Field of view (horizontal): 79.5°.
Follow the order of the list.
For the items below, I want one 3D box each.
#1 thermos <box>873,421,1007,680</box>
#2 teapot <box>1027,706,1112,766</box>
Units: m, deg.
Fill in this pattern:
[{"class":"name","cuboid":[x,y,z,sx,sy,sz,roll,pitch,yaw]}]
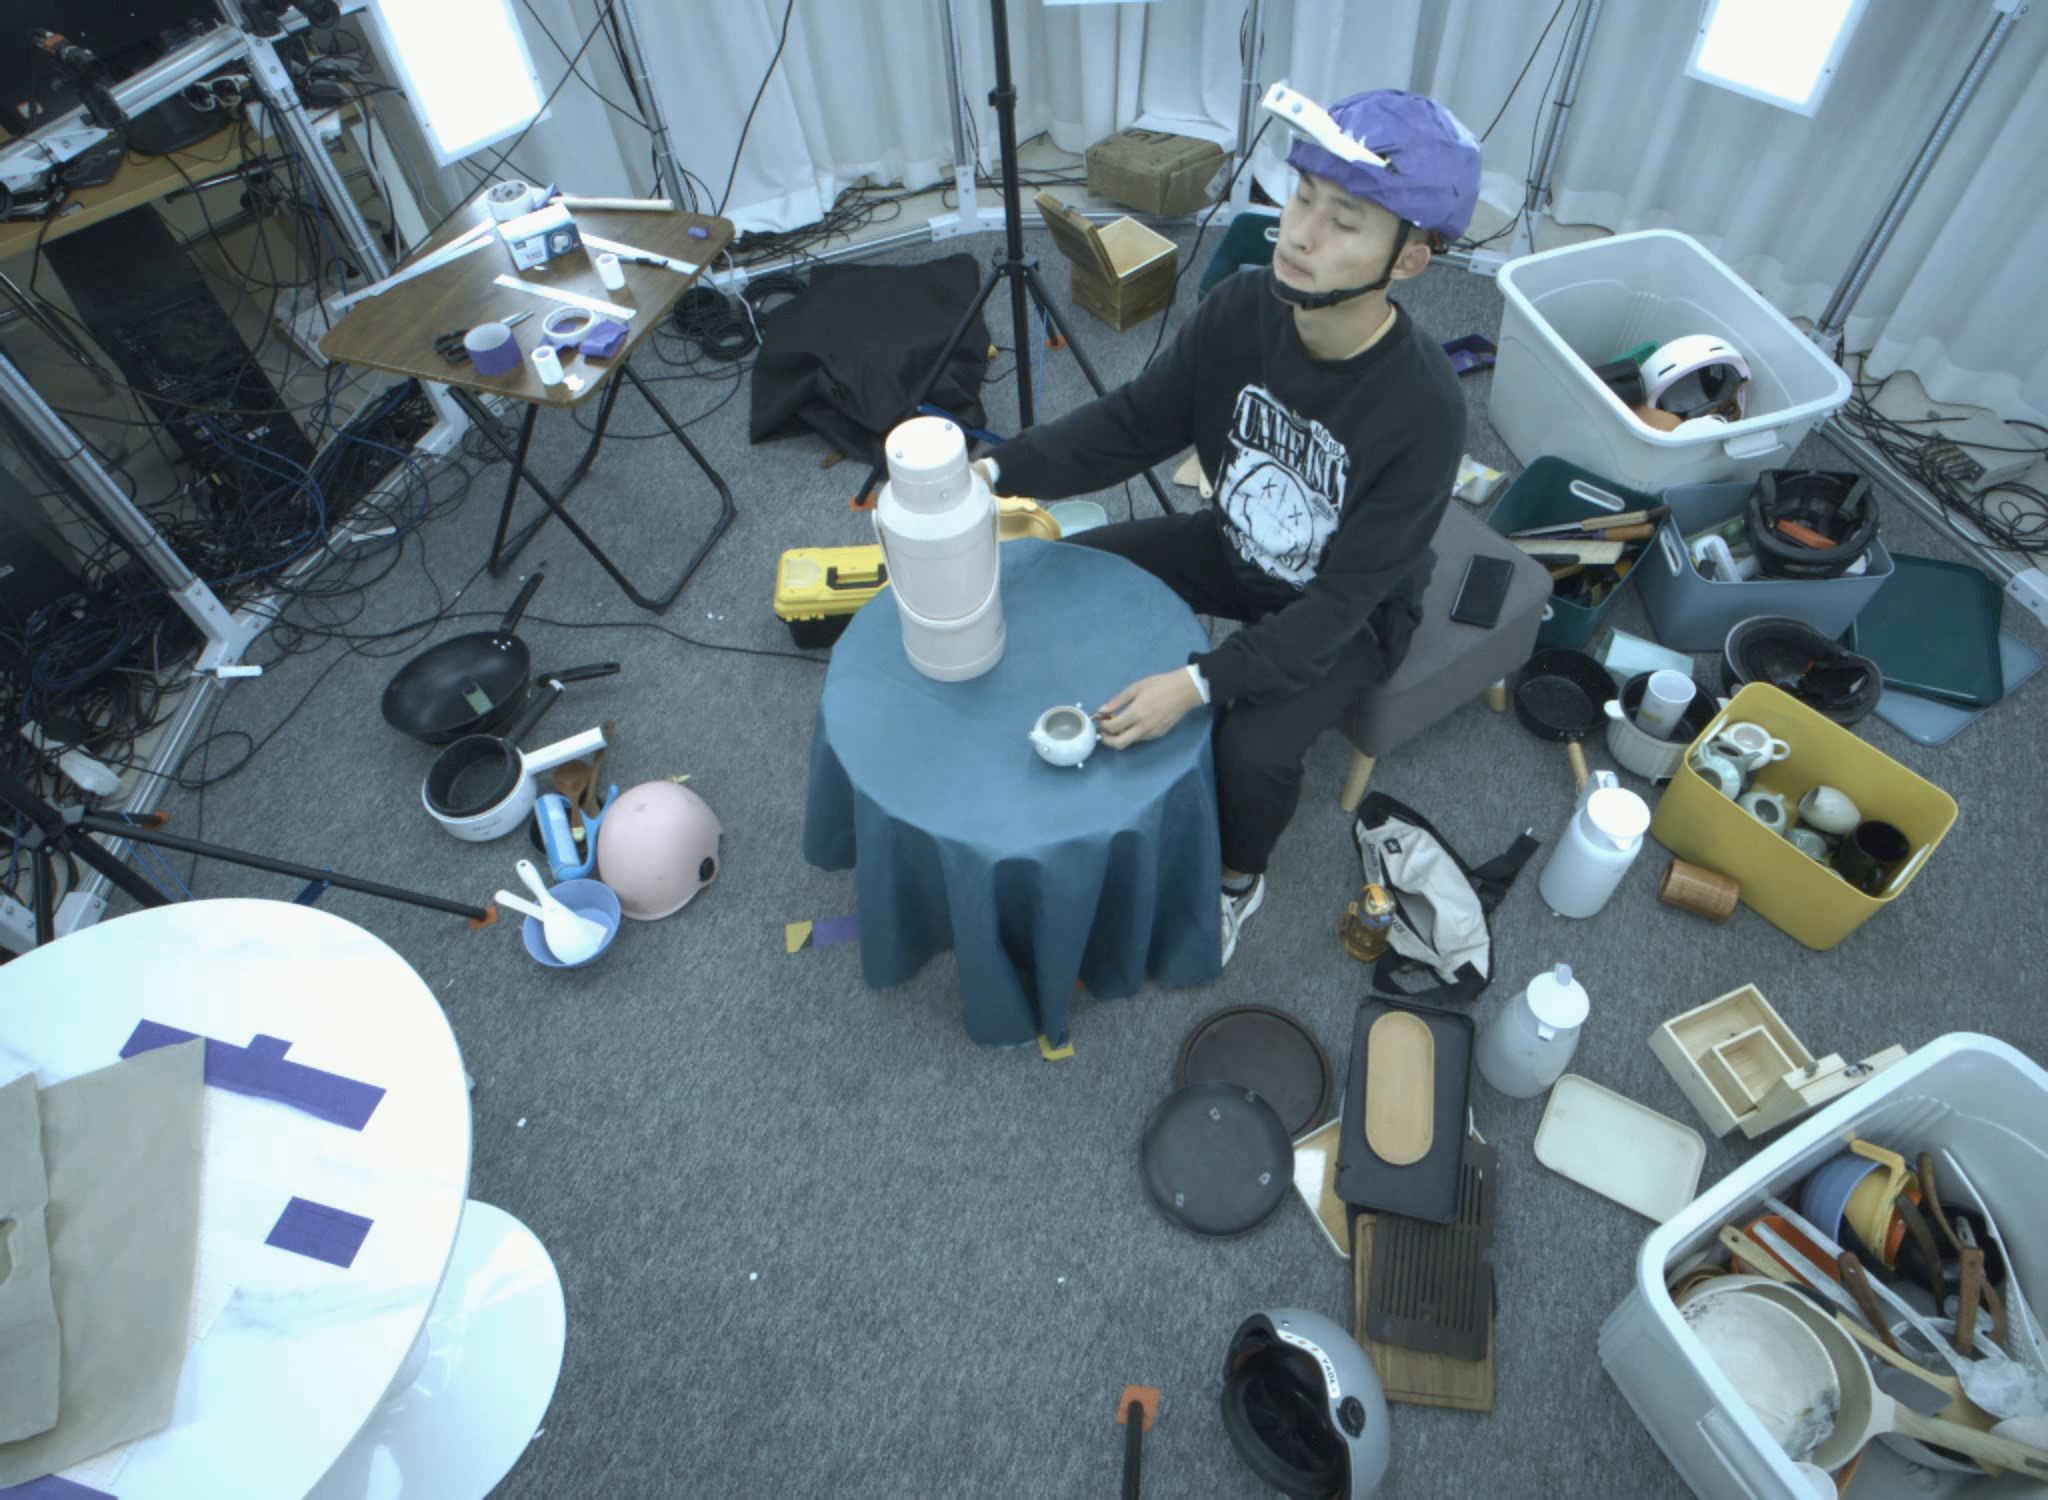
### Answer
[{"class":"thermos","cuboid":[-0.118,-0.297,1.754,0.175,0.411,0.204,-8,55,0]},{"class":"teapot","cuboid":[0.066,-0.023,1.761,0.129,0.060,0.090,-19,52,-10]}]
